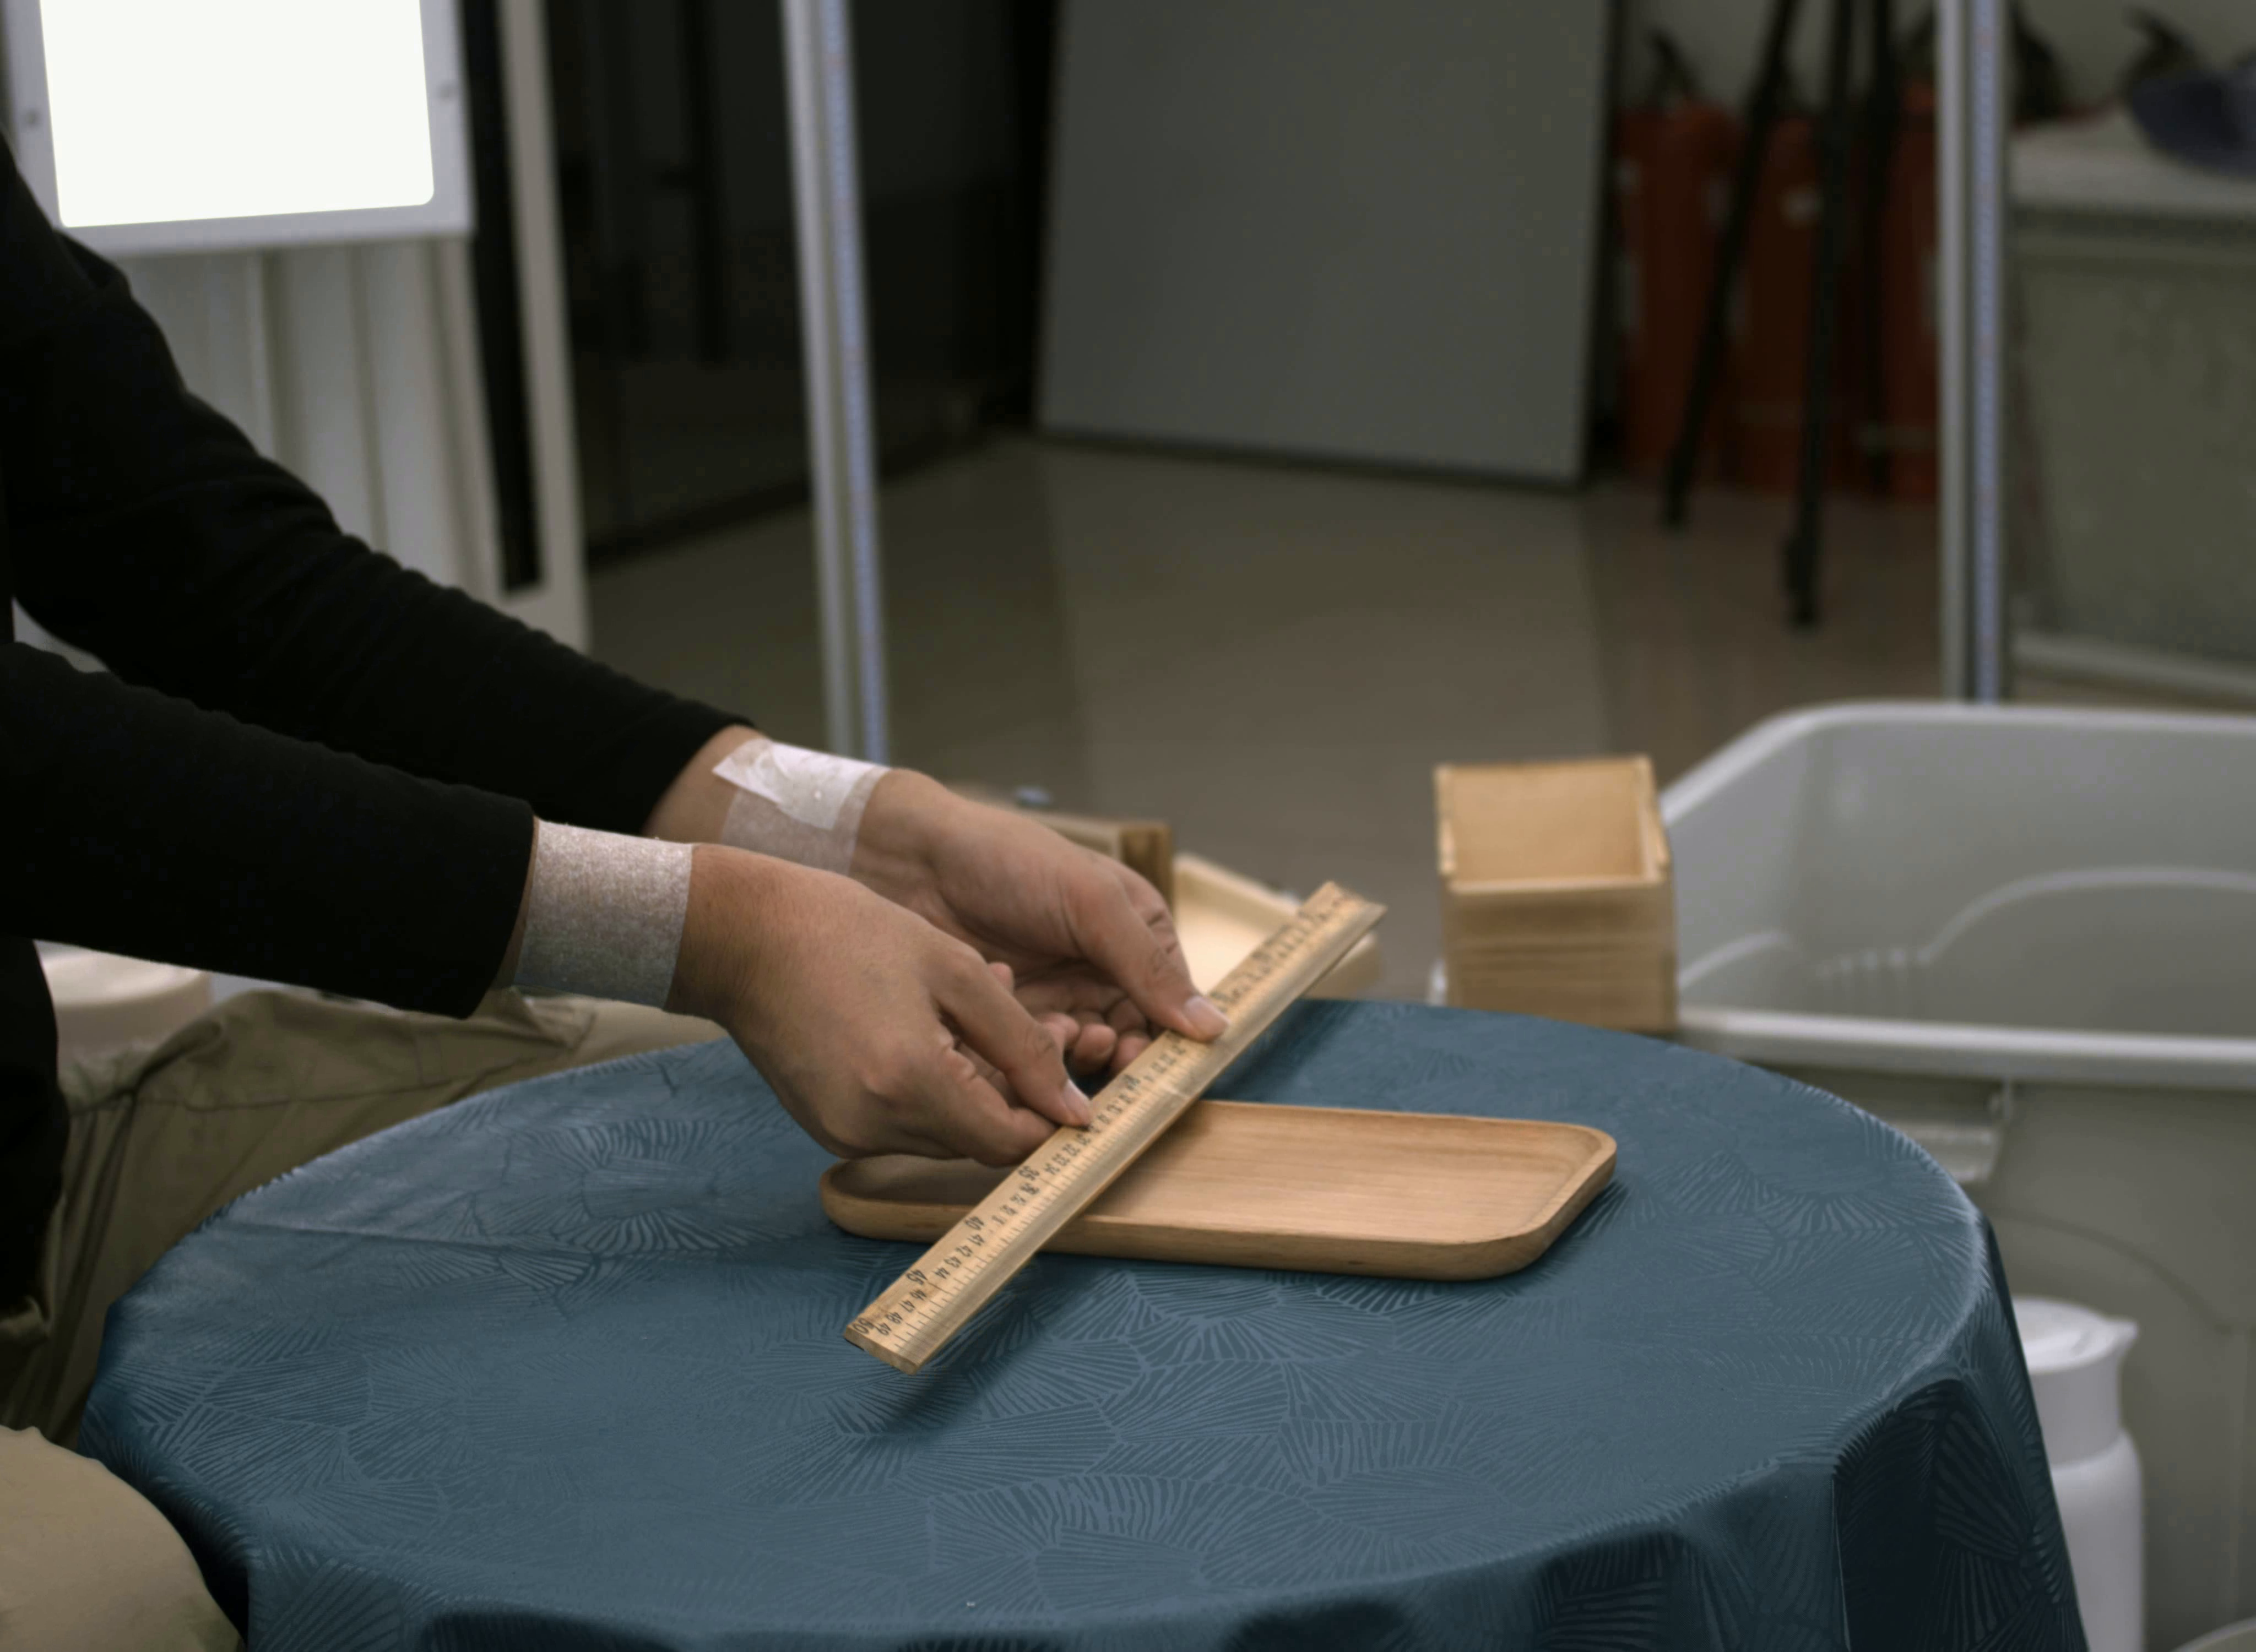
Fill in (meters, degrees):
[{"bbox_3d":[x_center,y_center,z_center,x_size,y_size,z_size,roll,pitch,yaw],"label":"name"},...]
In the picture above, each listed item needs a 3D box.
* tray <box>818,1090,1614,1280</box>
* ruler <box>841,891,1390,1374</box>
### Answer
[{"bbox_3d":[0.028,0.116,1.749,0.251,0.023,0.129,1,12,25],"label":"tray"},{"bbox_3d":[0.007,0.091,1.790,0.027,0.006,0.495,28,22,11],"label":"ruler"}]
